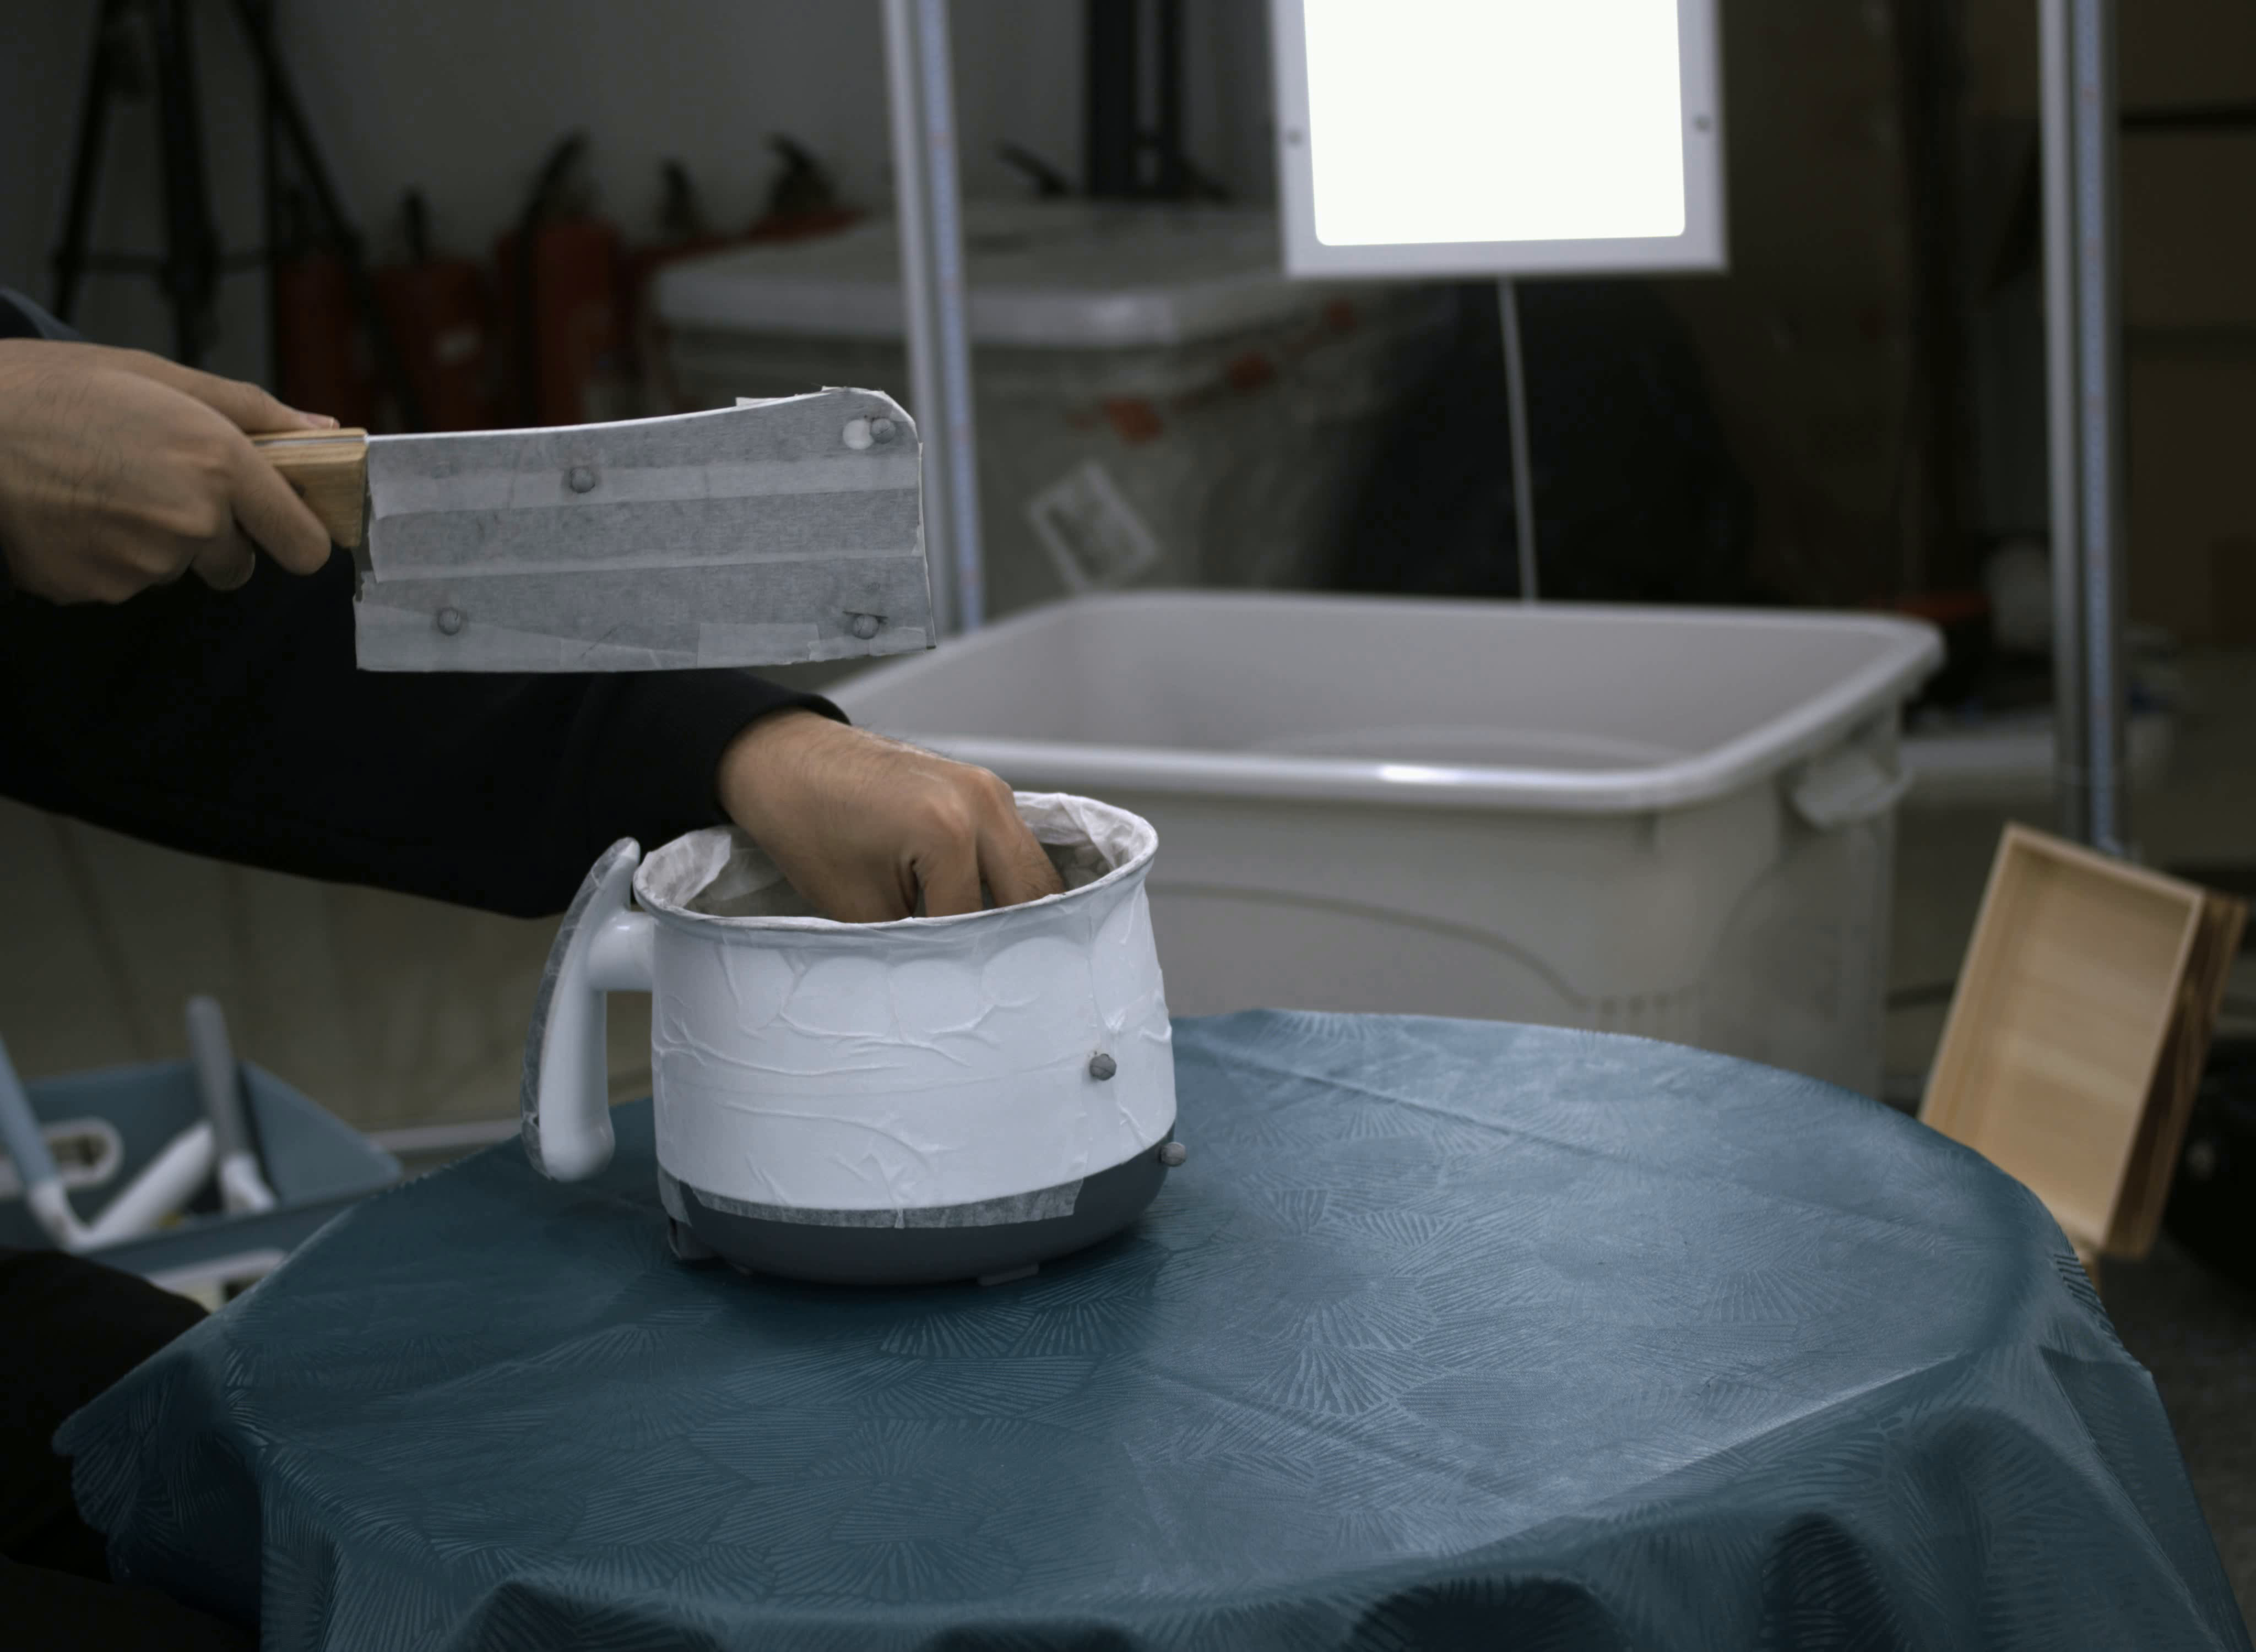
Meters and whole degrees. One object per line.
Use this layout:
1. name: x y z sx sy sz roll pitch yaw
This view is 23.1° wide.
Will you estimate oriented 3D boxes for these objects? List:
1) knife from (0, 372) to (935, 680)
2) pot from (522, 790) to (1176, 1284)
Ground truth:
1. knife: -0.215 -0.094 1.739 0.313 0.115 0.022 0 34 -6
2. pot: -0.099 0.070 1.871 0.237 0.137 0.176 1 14 20
